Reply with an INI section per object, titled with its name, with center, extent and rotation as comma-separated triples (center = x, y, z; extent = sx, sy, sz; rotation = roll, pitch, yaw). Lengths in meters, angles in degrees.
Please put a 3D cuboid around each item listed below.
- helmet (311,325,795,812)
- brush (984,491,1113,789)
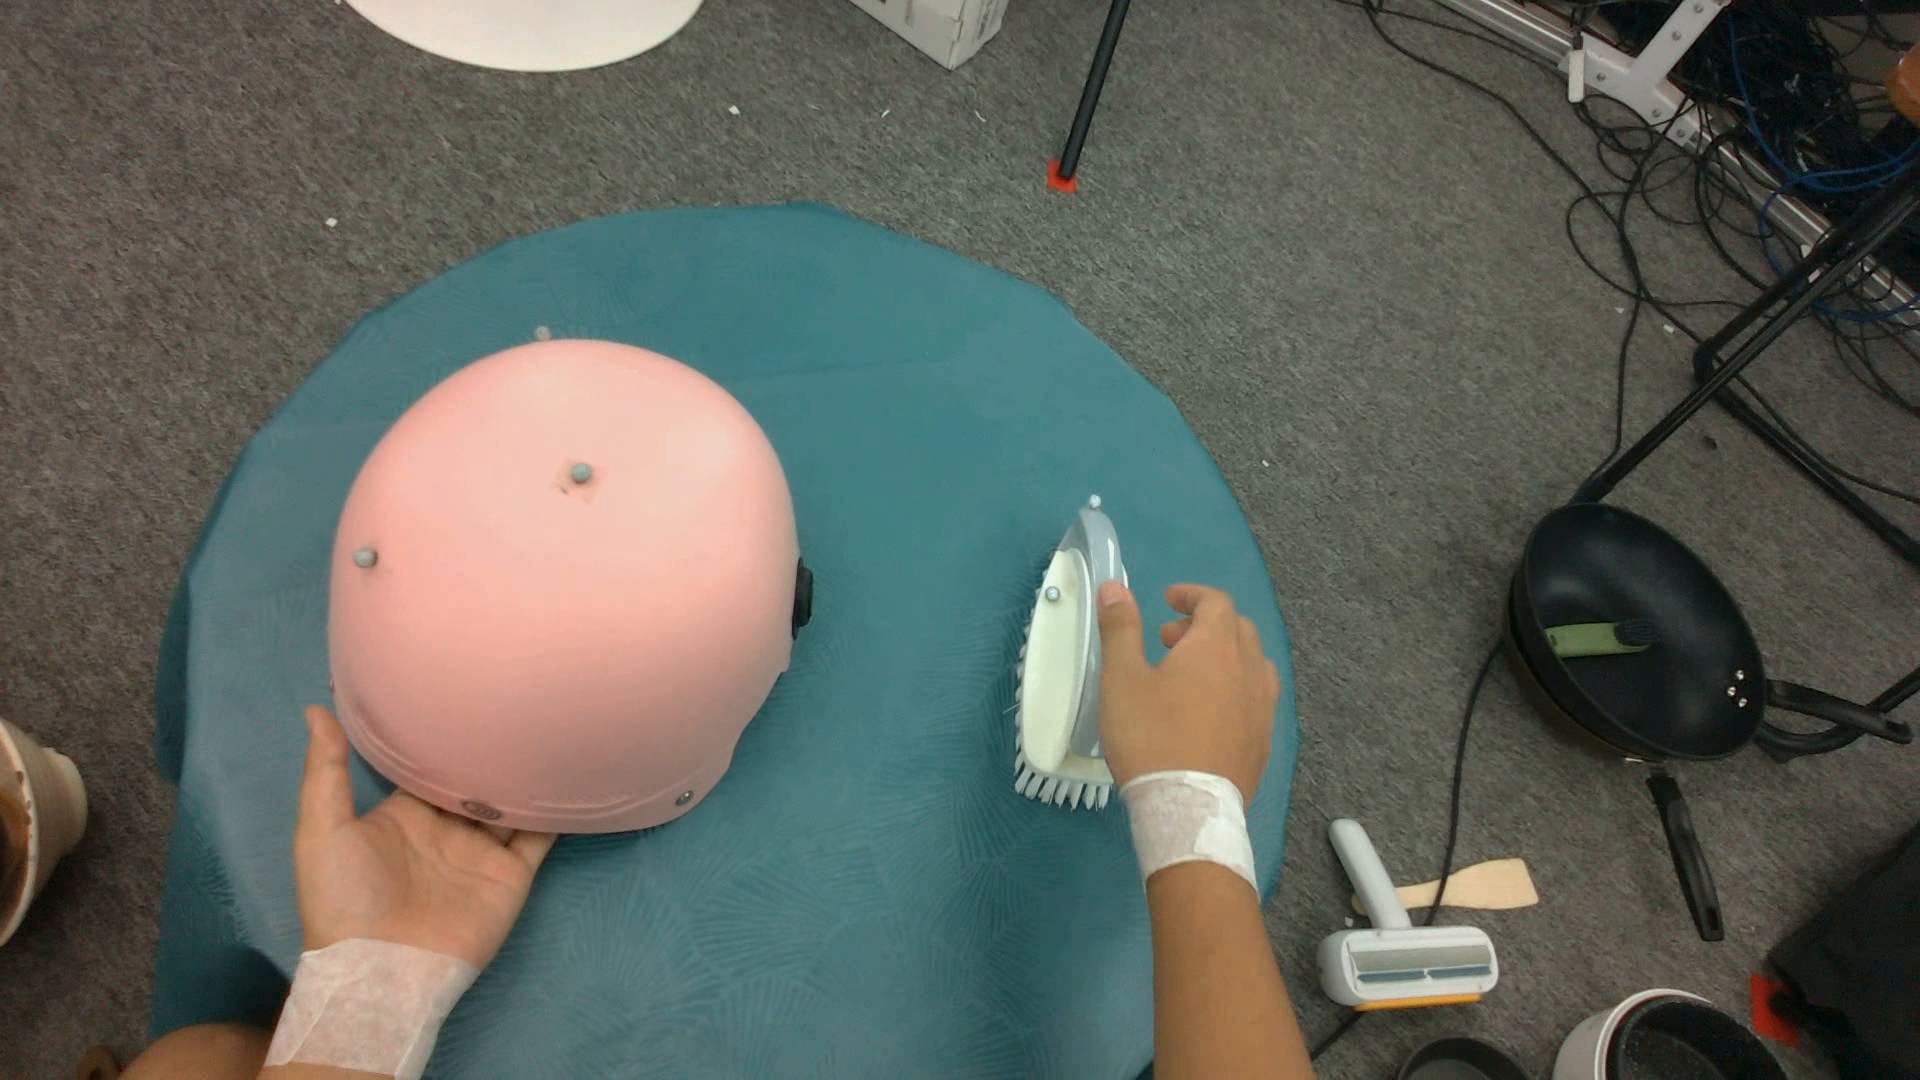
[helmet]
center = -0.191, -0.012, 0.667
extent = 0.234, 0.158, 0.267
rotation = 17, 52, -6
[brush]
center = 0.055, 0.037, 0.746
extent = 0.061, 0.094, 0.176
rotation = 14, 54, -9
